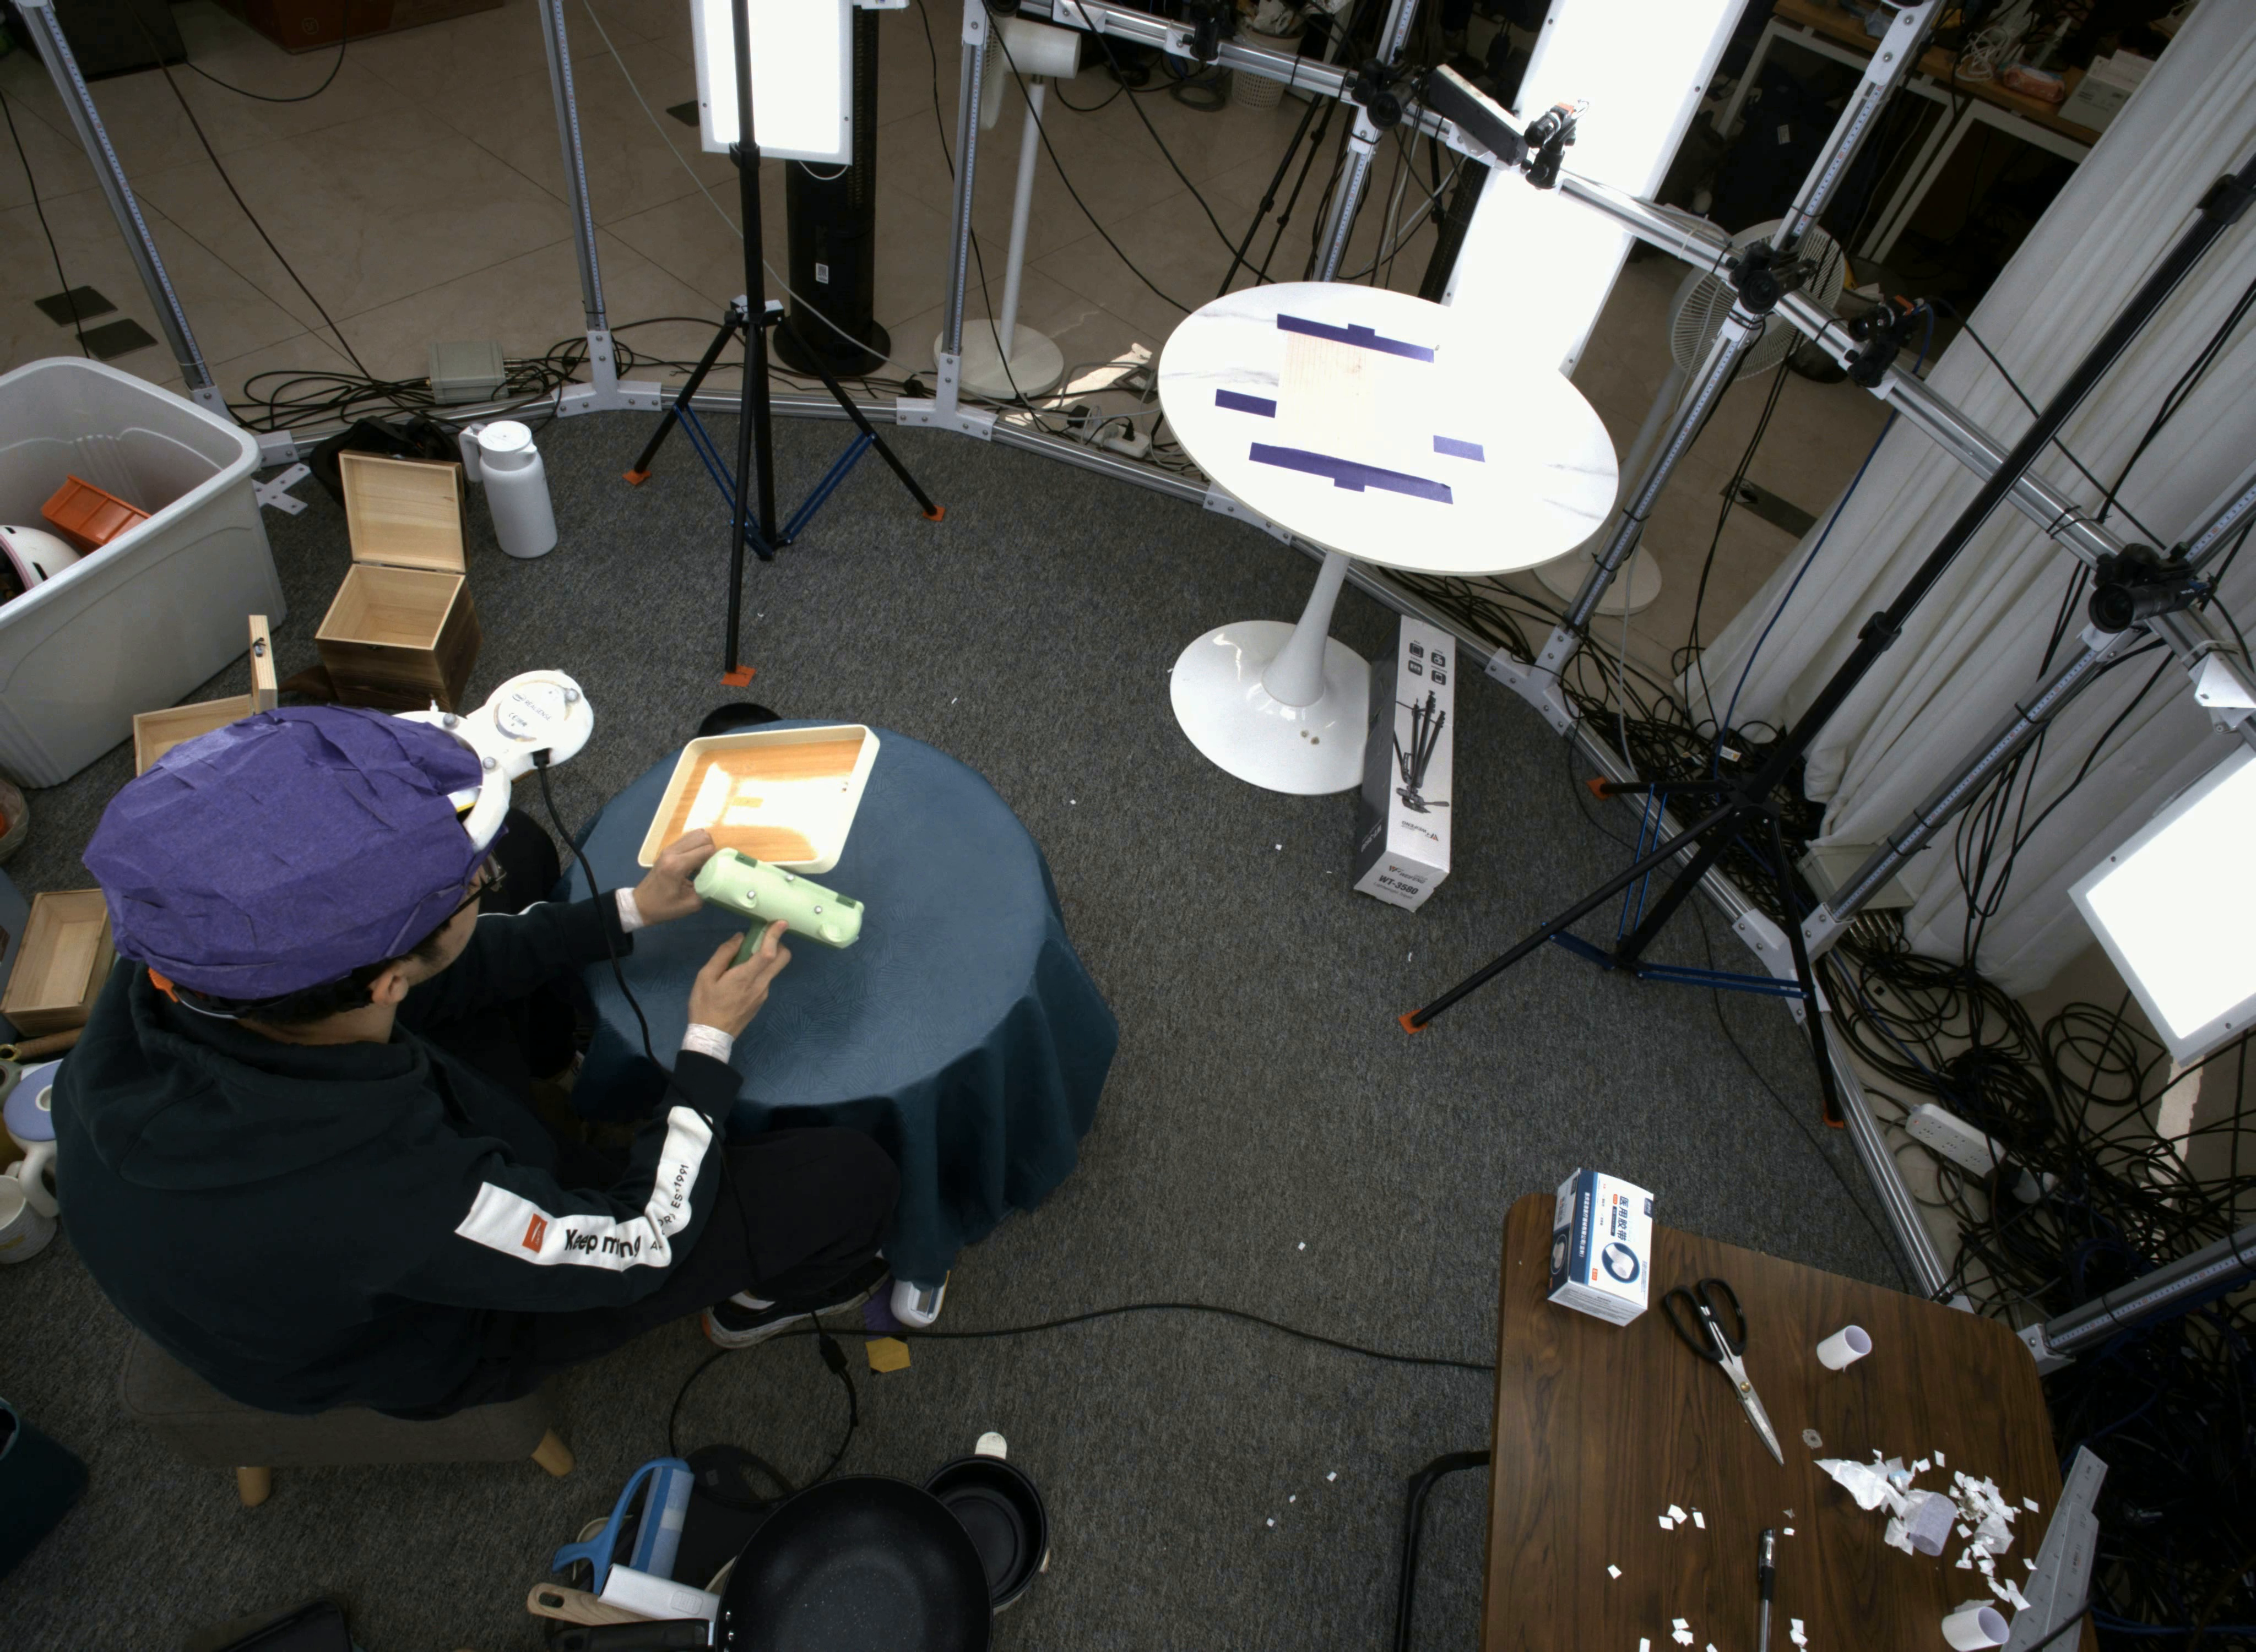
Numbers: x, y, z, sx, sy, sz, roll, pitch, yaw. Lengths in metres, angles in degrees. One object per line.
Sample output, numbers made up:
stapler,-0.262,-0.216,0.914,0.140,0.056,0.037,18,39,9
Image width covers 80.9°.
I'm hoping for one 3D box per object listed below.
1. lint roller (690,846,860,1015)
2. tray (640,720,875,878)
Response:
lint roller,-0.419,0.137,1.471,0.079,0.205,0.184,22,85,48
tray,-0.449,-0.031,1.553,0.291,0.028,0.190,-2,61,26
